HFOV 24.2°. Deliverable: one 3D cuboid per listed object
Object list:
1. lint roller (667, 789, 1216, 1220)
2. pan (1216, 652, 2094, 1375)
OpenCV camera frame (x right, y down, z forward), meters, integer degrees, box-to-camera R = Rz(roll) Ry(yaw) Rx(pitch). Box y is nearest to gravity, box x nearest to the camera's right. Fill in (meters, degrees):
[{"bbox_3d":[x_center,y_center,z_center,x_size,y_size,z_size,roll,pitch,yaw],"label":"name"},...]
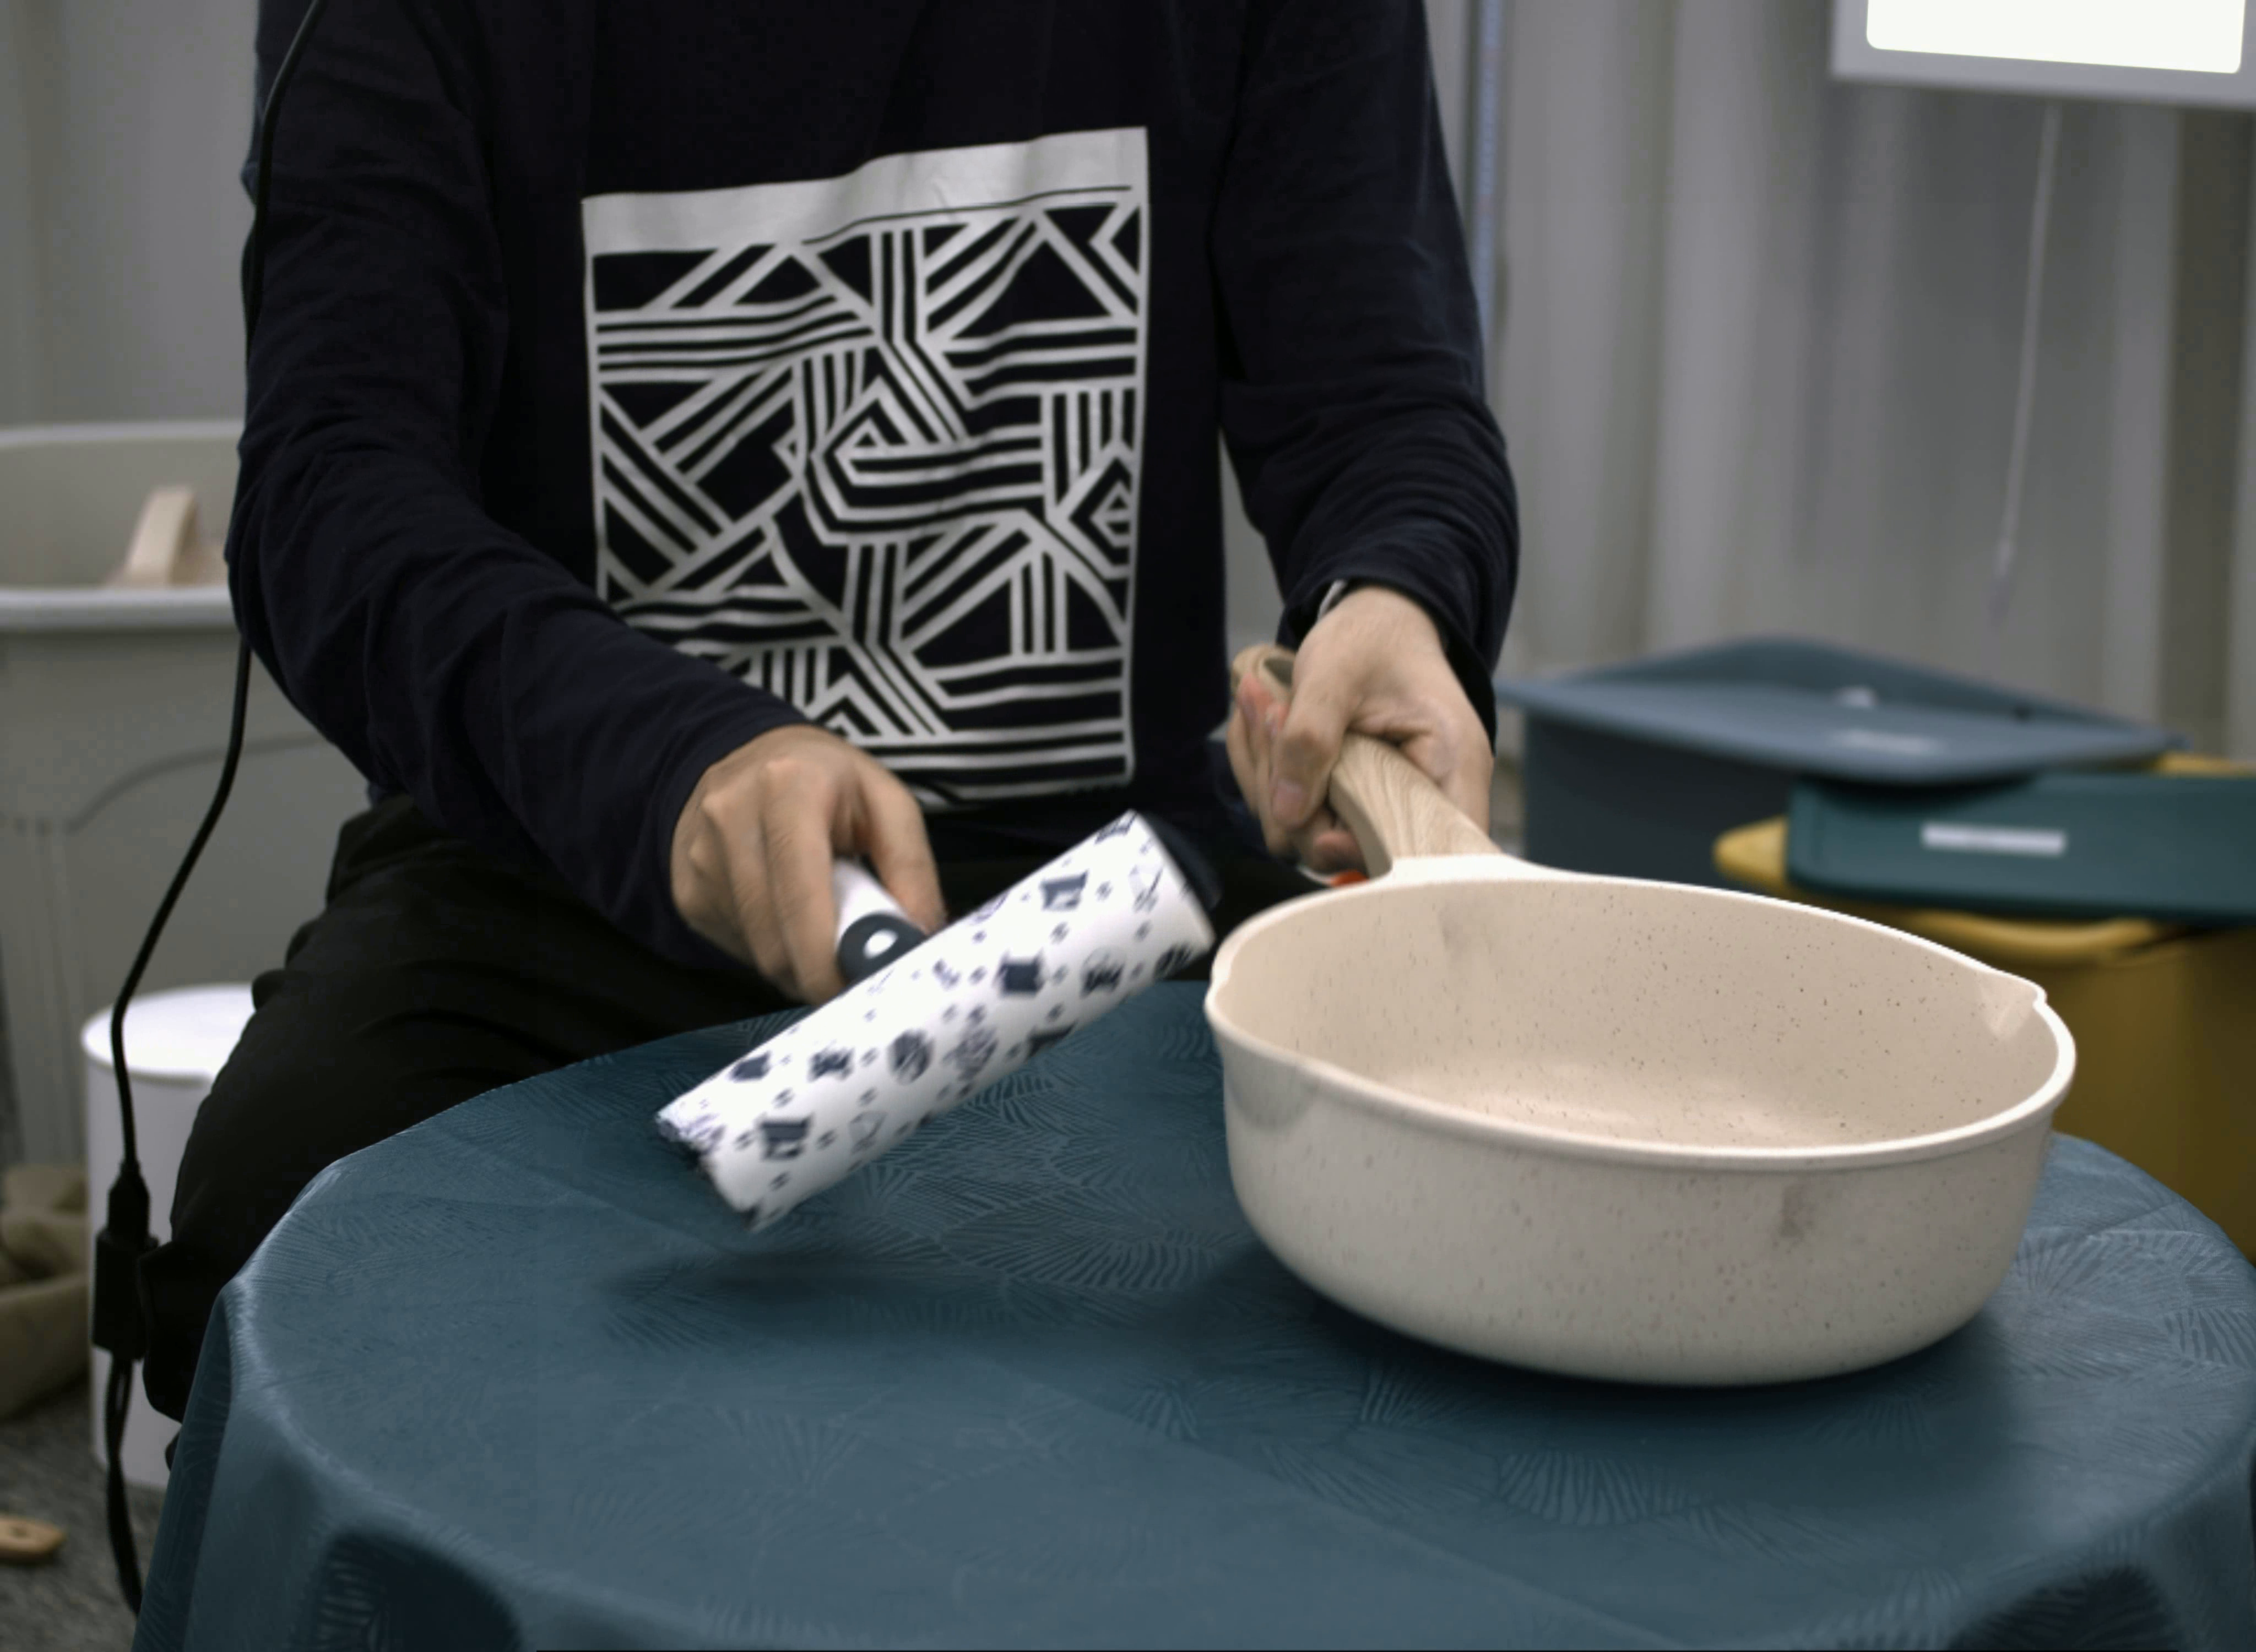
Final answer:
[{"bbox_3d":[-0.080,0.034,1.635,0.176,0.051,0.245,-34,18,-7],"label":"lint roller"},{"bbox_3d":[0.118,0.053,1.614,0.264,0.103,0.429,-2,18,-22],"label":"pan"}]
